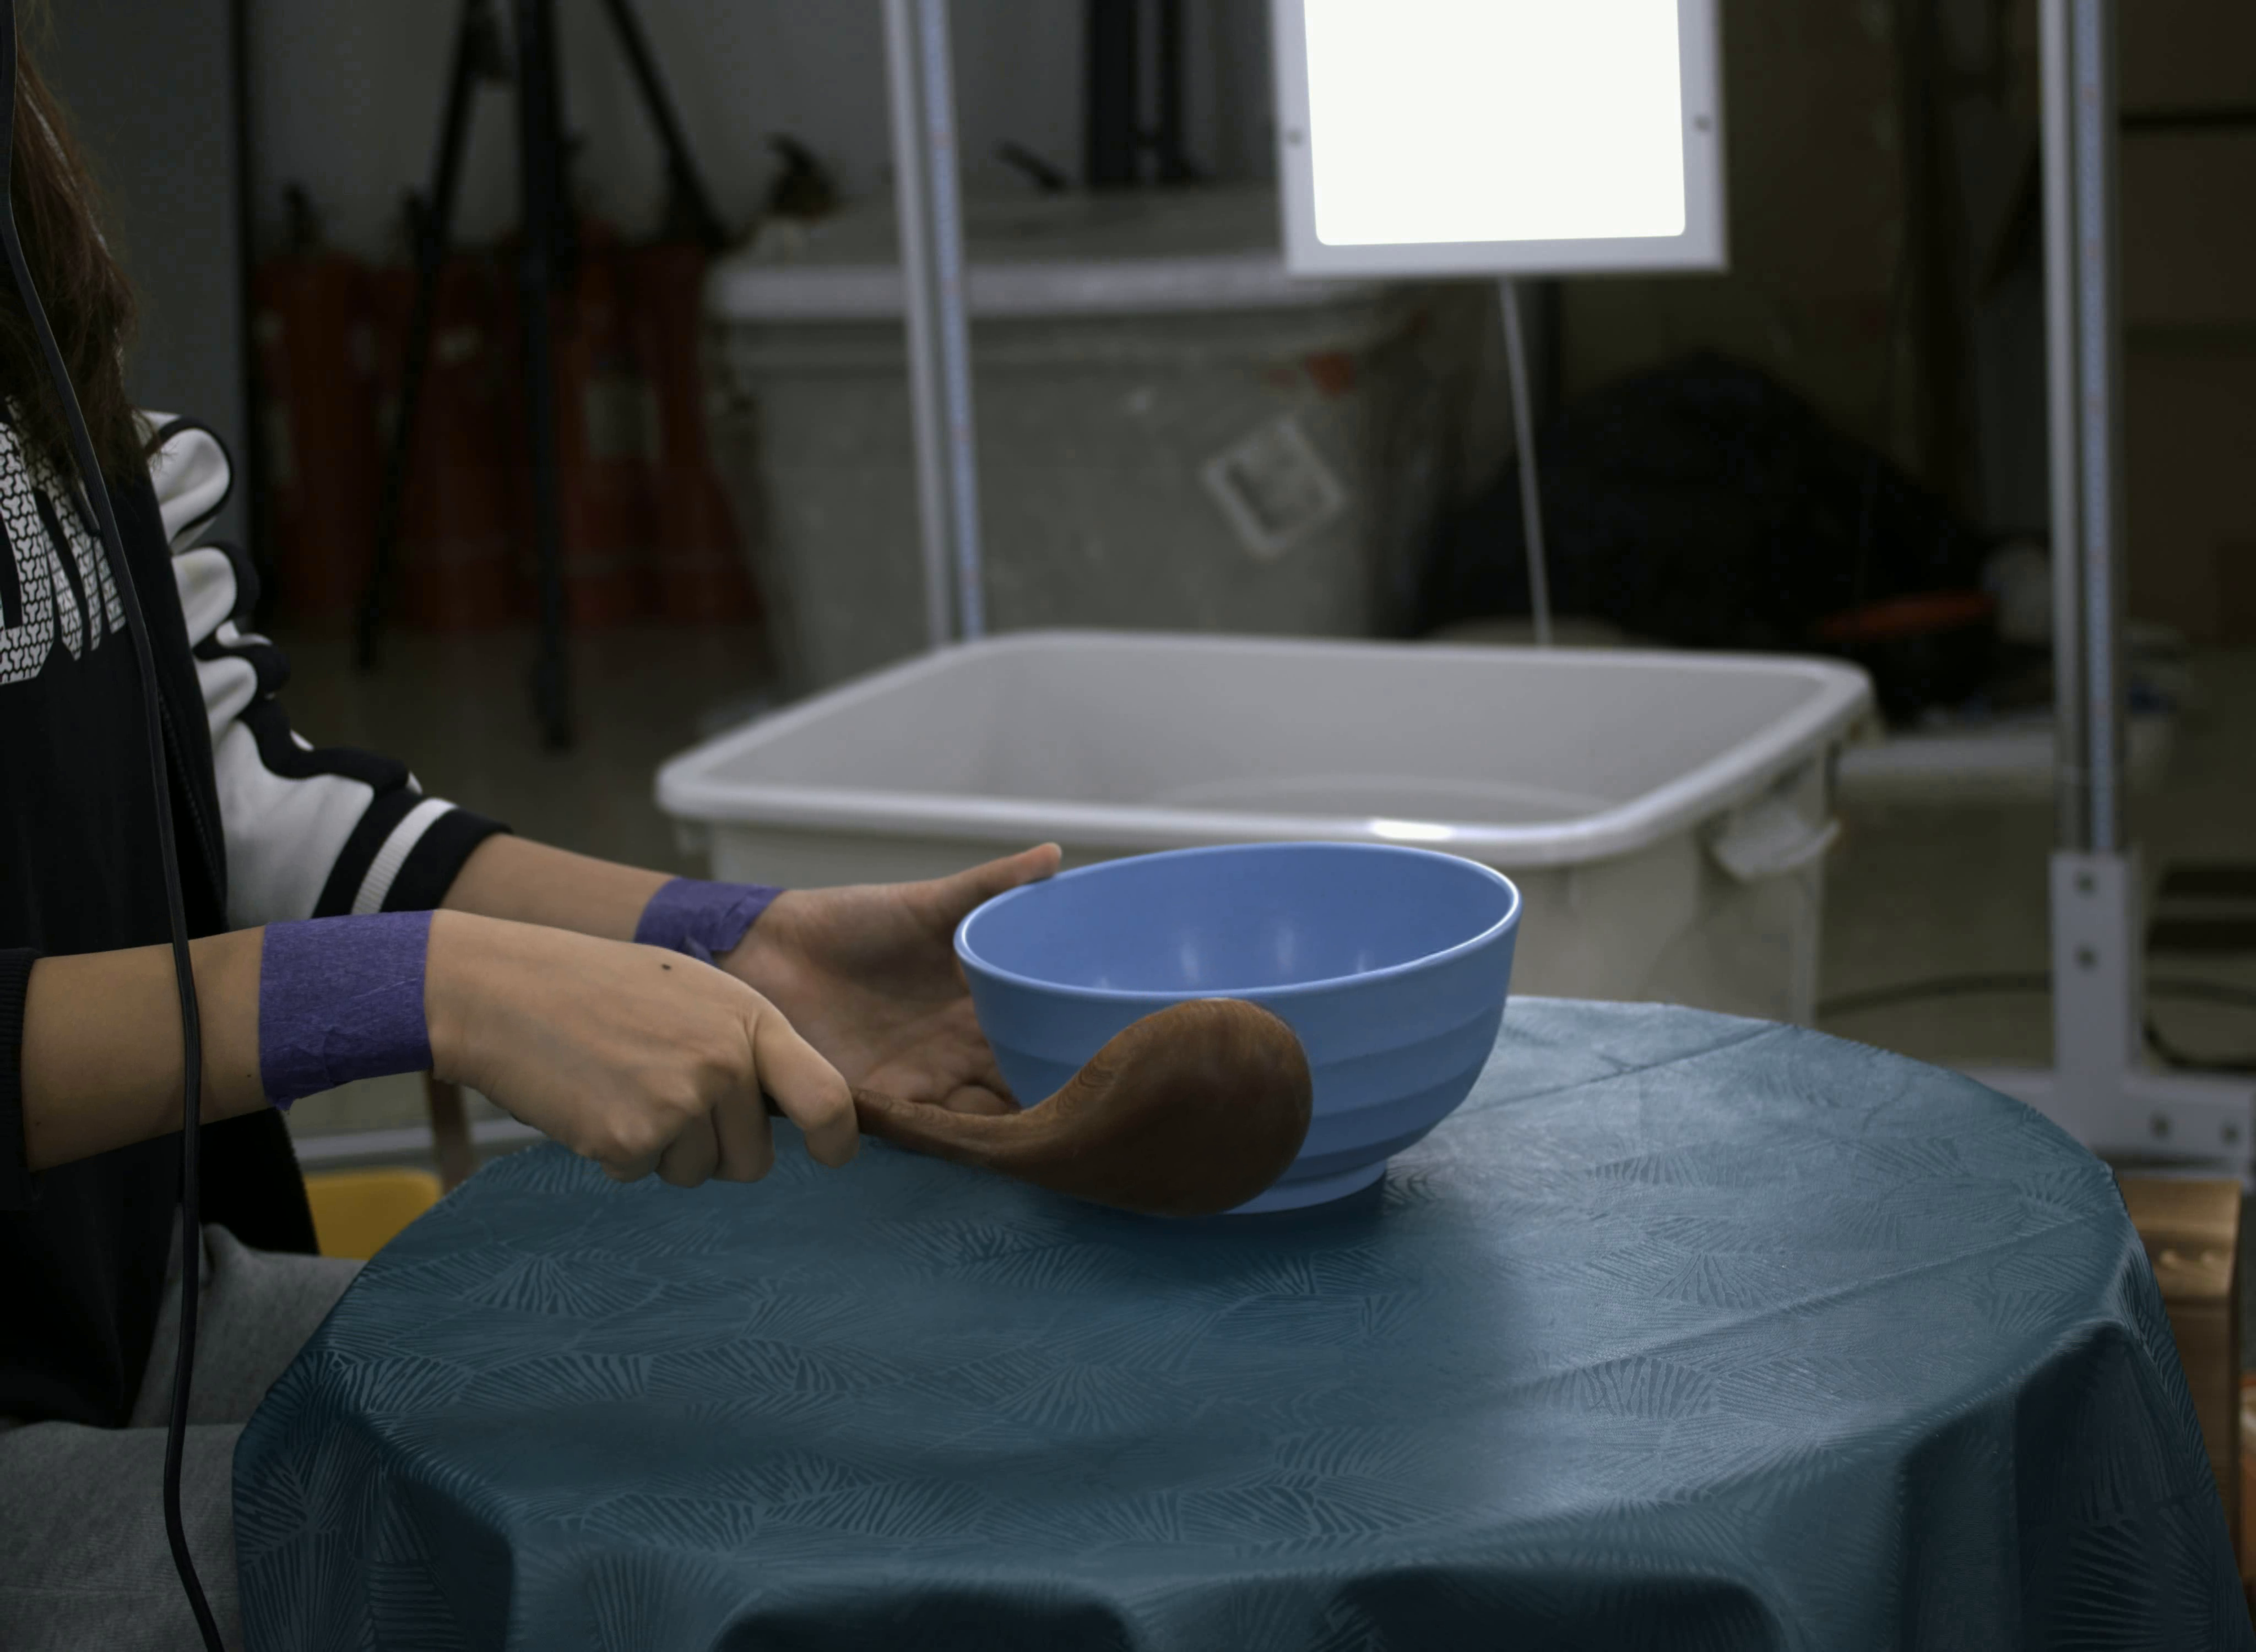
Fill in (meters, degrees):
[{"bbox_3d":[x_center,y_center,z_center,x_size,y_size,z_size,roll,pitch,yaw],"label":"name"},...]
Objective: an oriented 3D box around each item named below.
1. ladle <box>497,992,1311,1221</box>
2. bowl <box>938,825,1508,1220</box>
[{"bbox_3d":[-0.069,0.079,1.687,0.264,0.076,0.064,5,38,26],"label":"ladle"},{"bbox_3d":[0.034,0.075,1.900,0.196,0.096,0.196,-3,19,0],"label":"bowl"}]
